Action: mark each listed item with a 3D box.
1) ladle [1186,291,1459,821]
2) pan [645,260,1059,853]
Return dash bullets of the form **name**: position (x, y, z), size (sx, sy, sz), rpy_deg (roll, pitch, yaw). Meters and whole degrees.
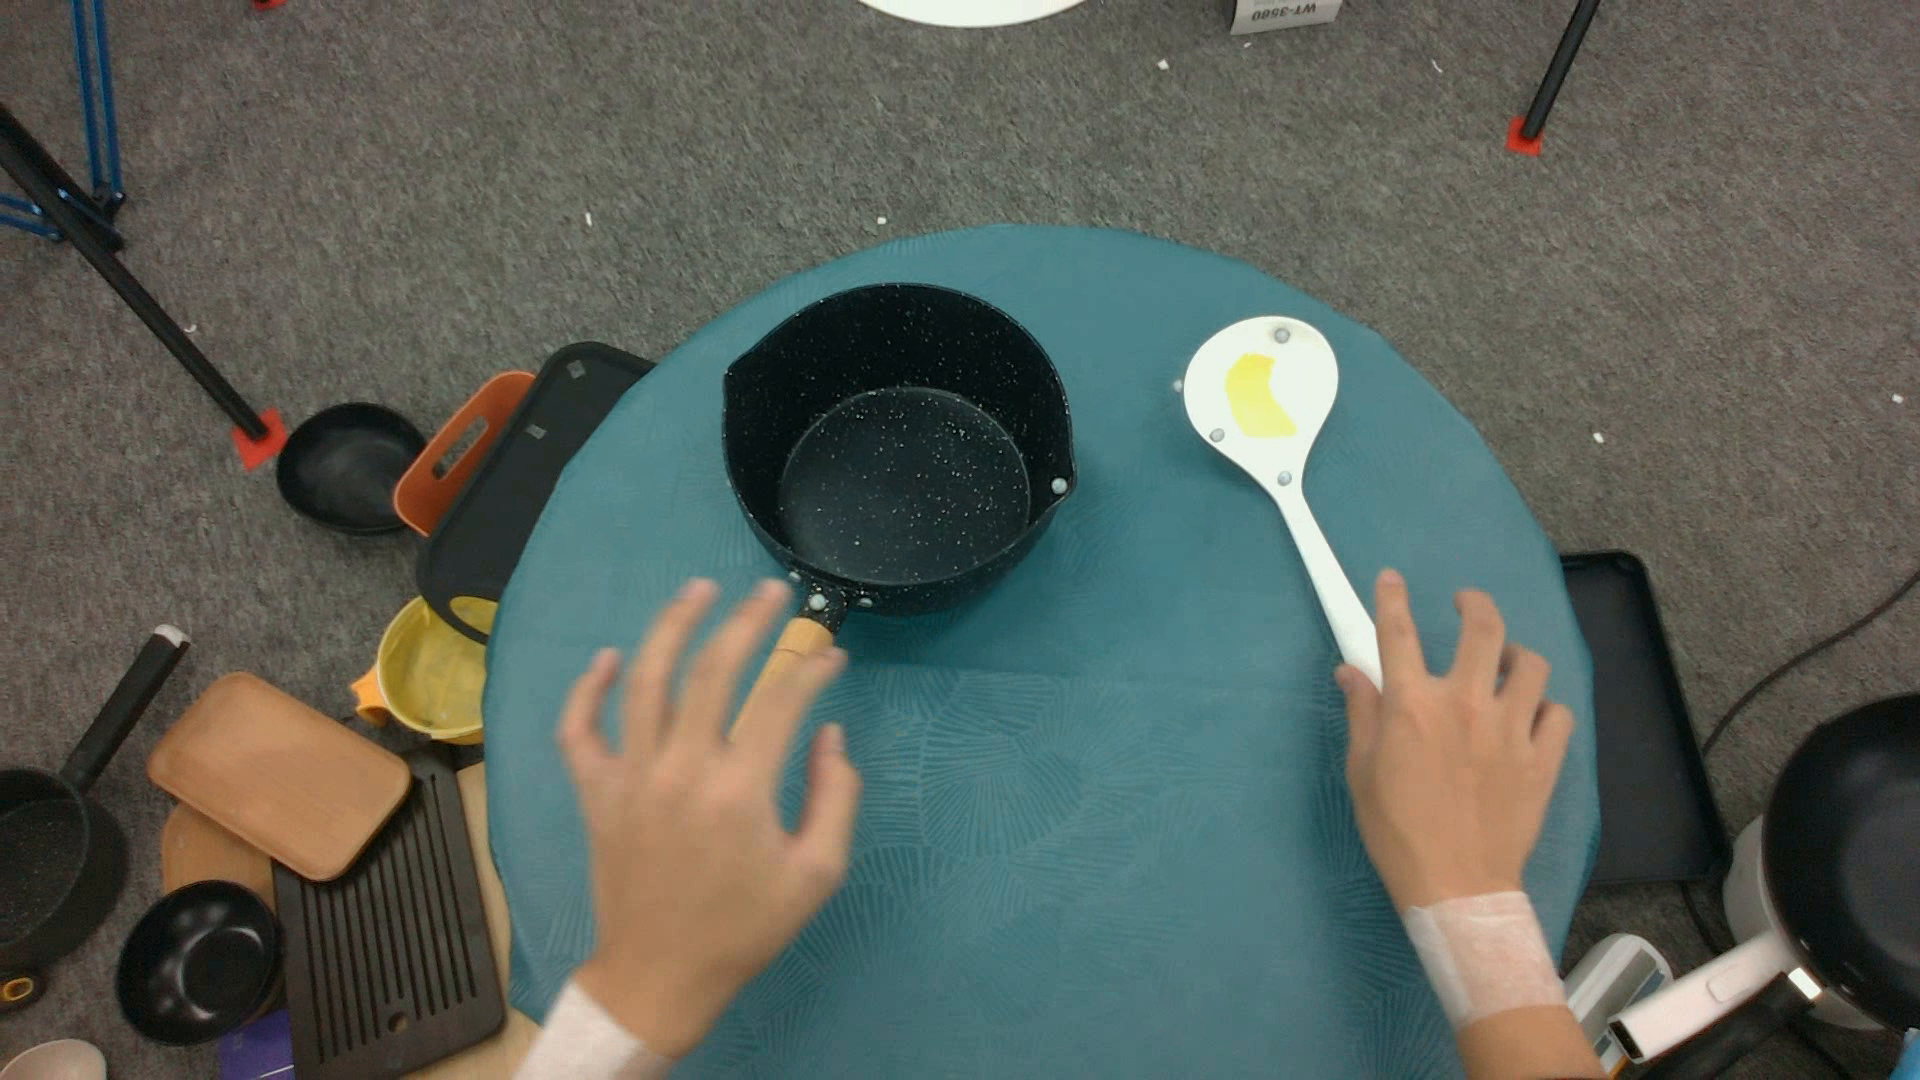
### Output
- **ladle**: position (0.201, 0.003, 0.744), size (0.090, 0.069, 0.294), rpy_deg (-12, 66, -12)
- **pan**: position (-0.070, 0.010, 0.716), size (0.207, 0.108, 0.344), rpy_deg (17, 65, 7)
